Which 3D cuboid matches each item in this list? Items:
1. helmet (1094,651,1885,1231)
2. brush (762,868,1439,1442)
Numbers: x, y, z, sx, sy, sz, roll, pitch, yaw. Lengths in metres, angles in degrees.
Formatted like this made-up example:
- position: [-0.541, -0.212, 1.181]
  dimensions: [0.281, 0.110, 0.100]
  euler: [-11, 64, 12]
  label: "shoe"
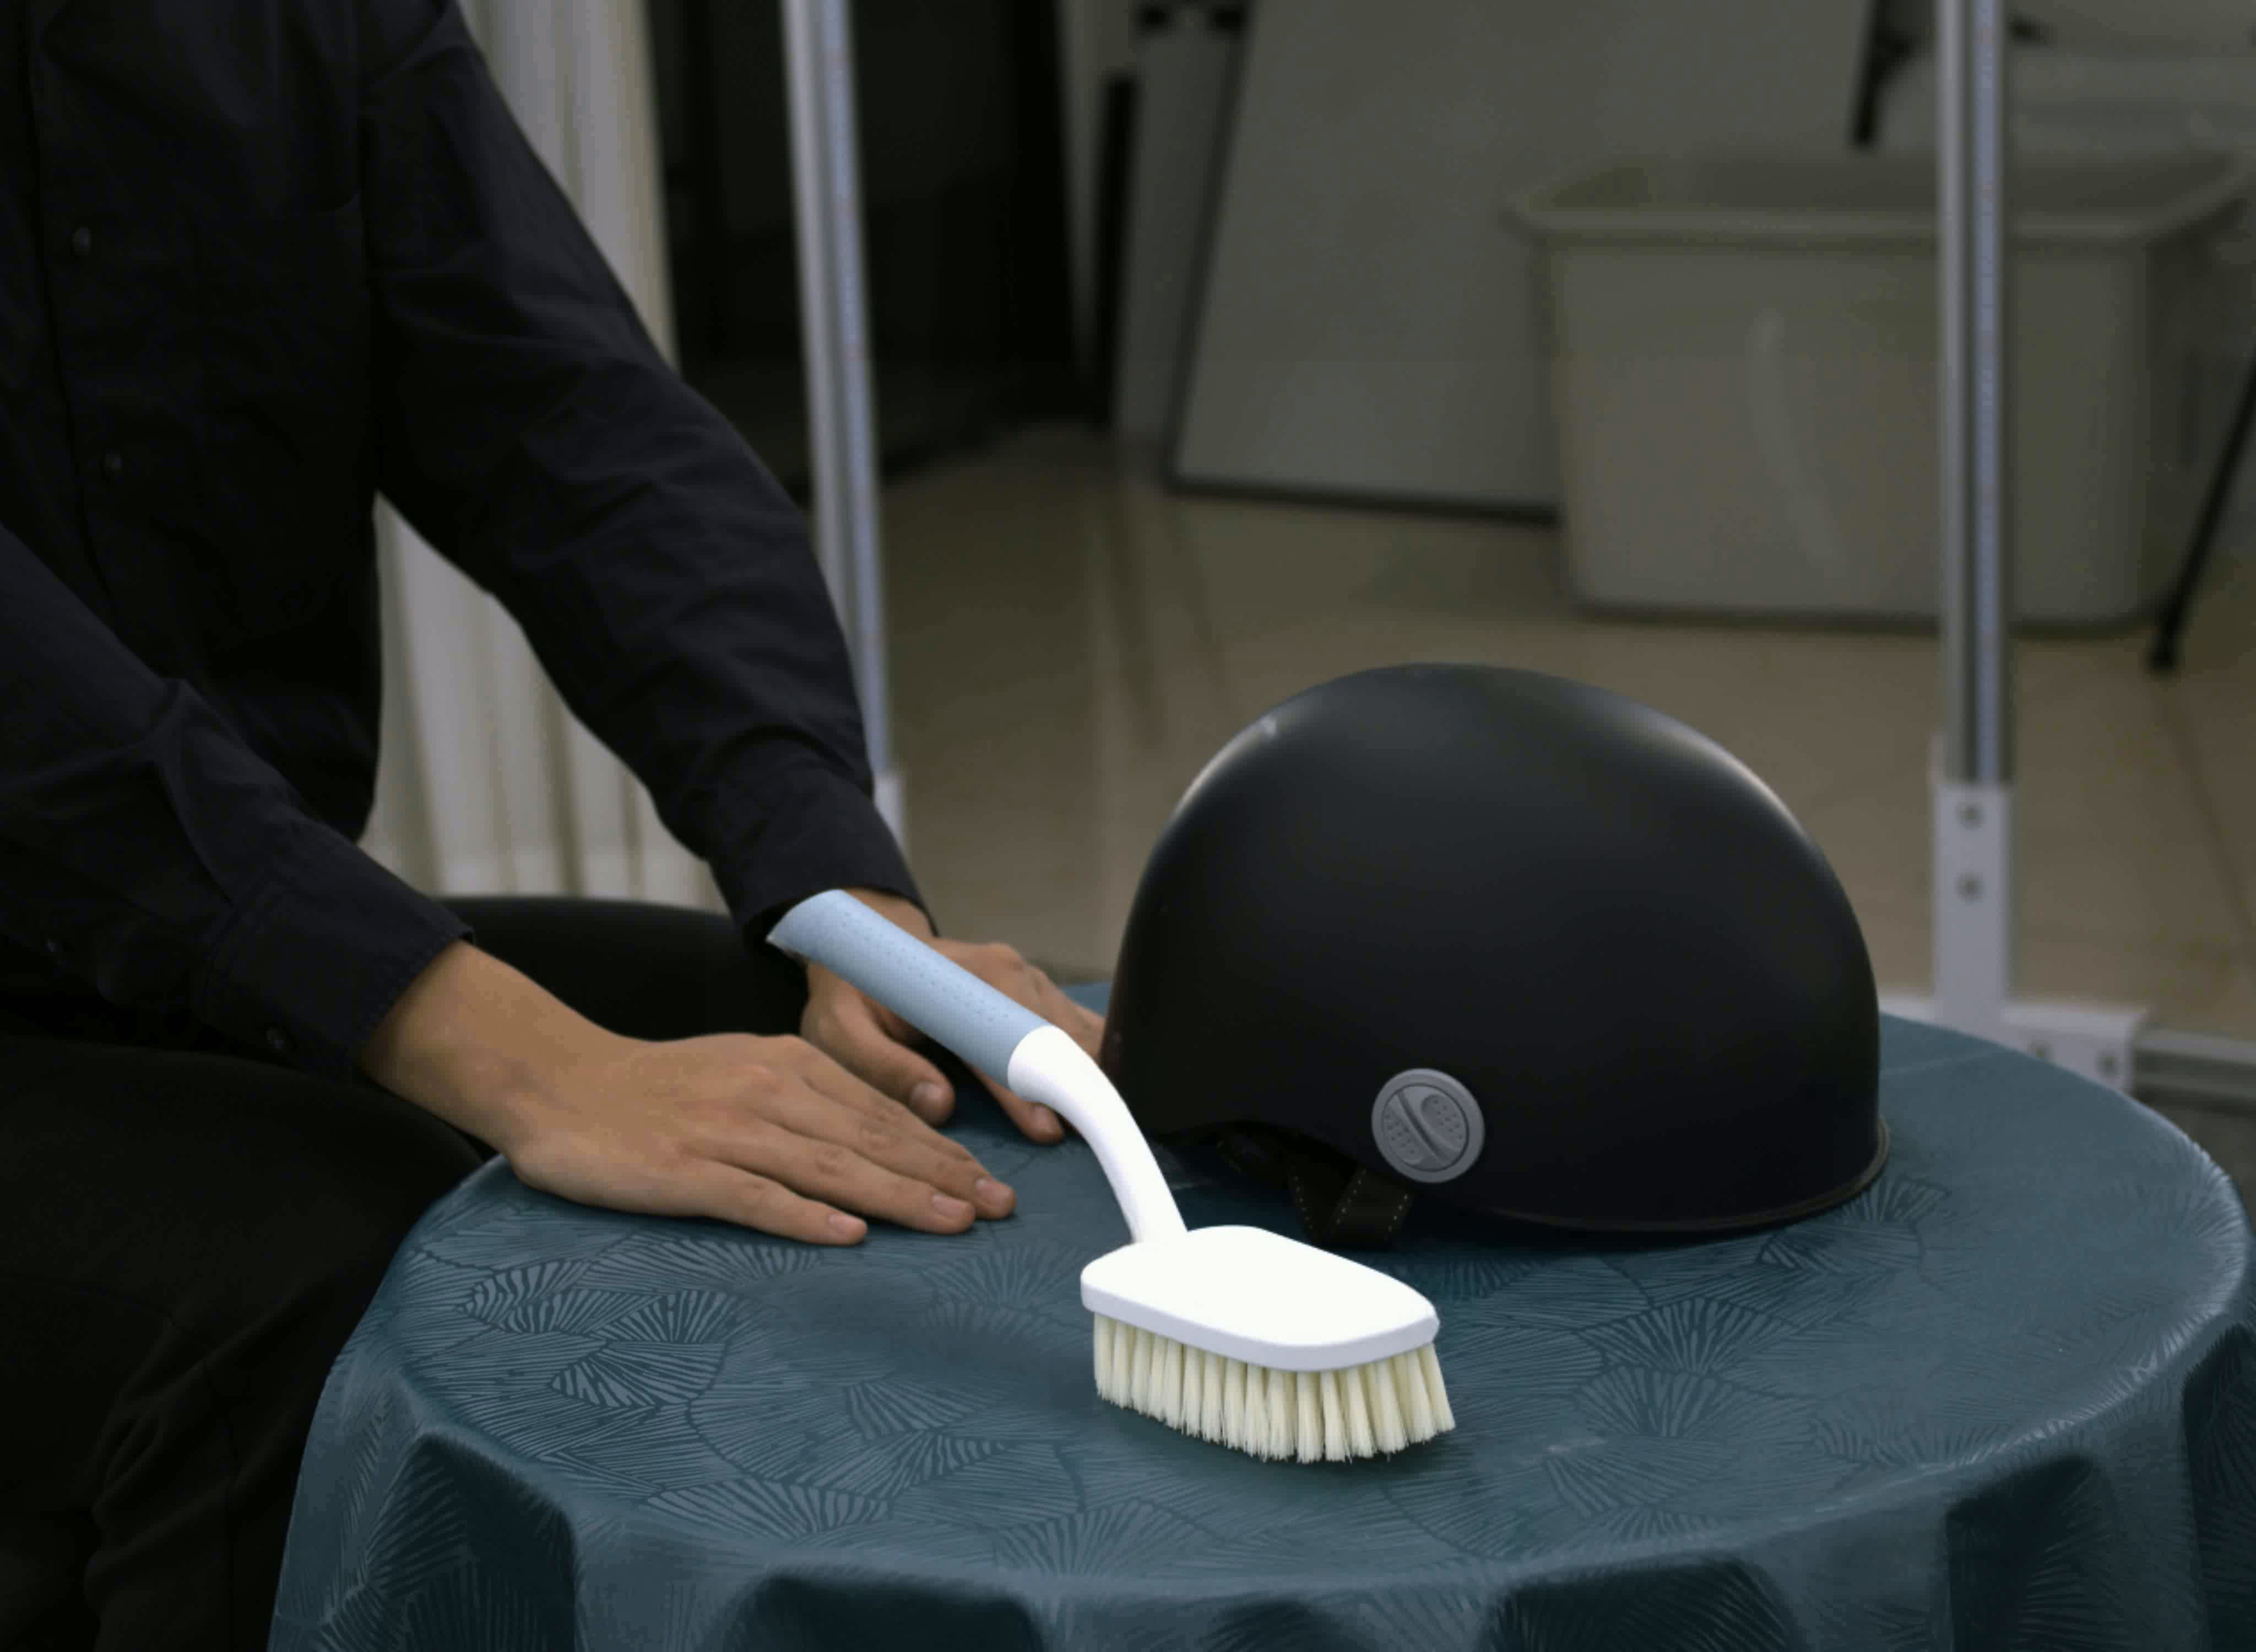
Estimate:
- position: [0.119, 0.030, 1.776]
  dimensions: [0.275, 0.168, 0.226]
  euler: [10, 19, 36]
  label: "helmet"
- position: [-0.014, 0.112, 1.635]
  dimensions: [0.082, 0.085, 0.329]
  euler: [34, -2, -43]
  label: "brush"
